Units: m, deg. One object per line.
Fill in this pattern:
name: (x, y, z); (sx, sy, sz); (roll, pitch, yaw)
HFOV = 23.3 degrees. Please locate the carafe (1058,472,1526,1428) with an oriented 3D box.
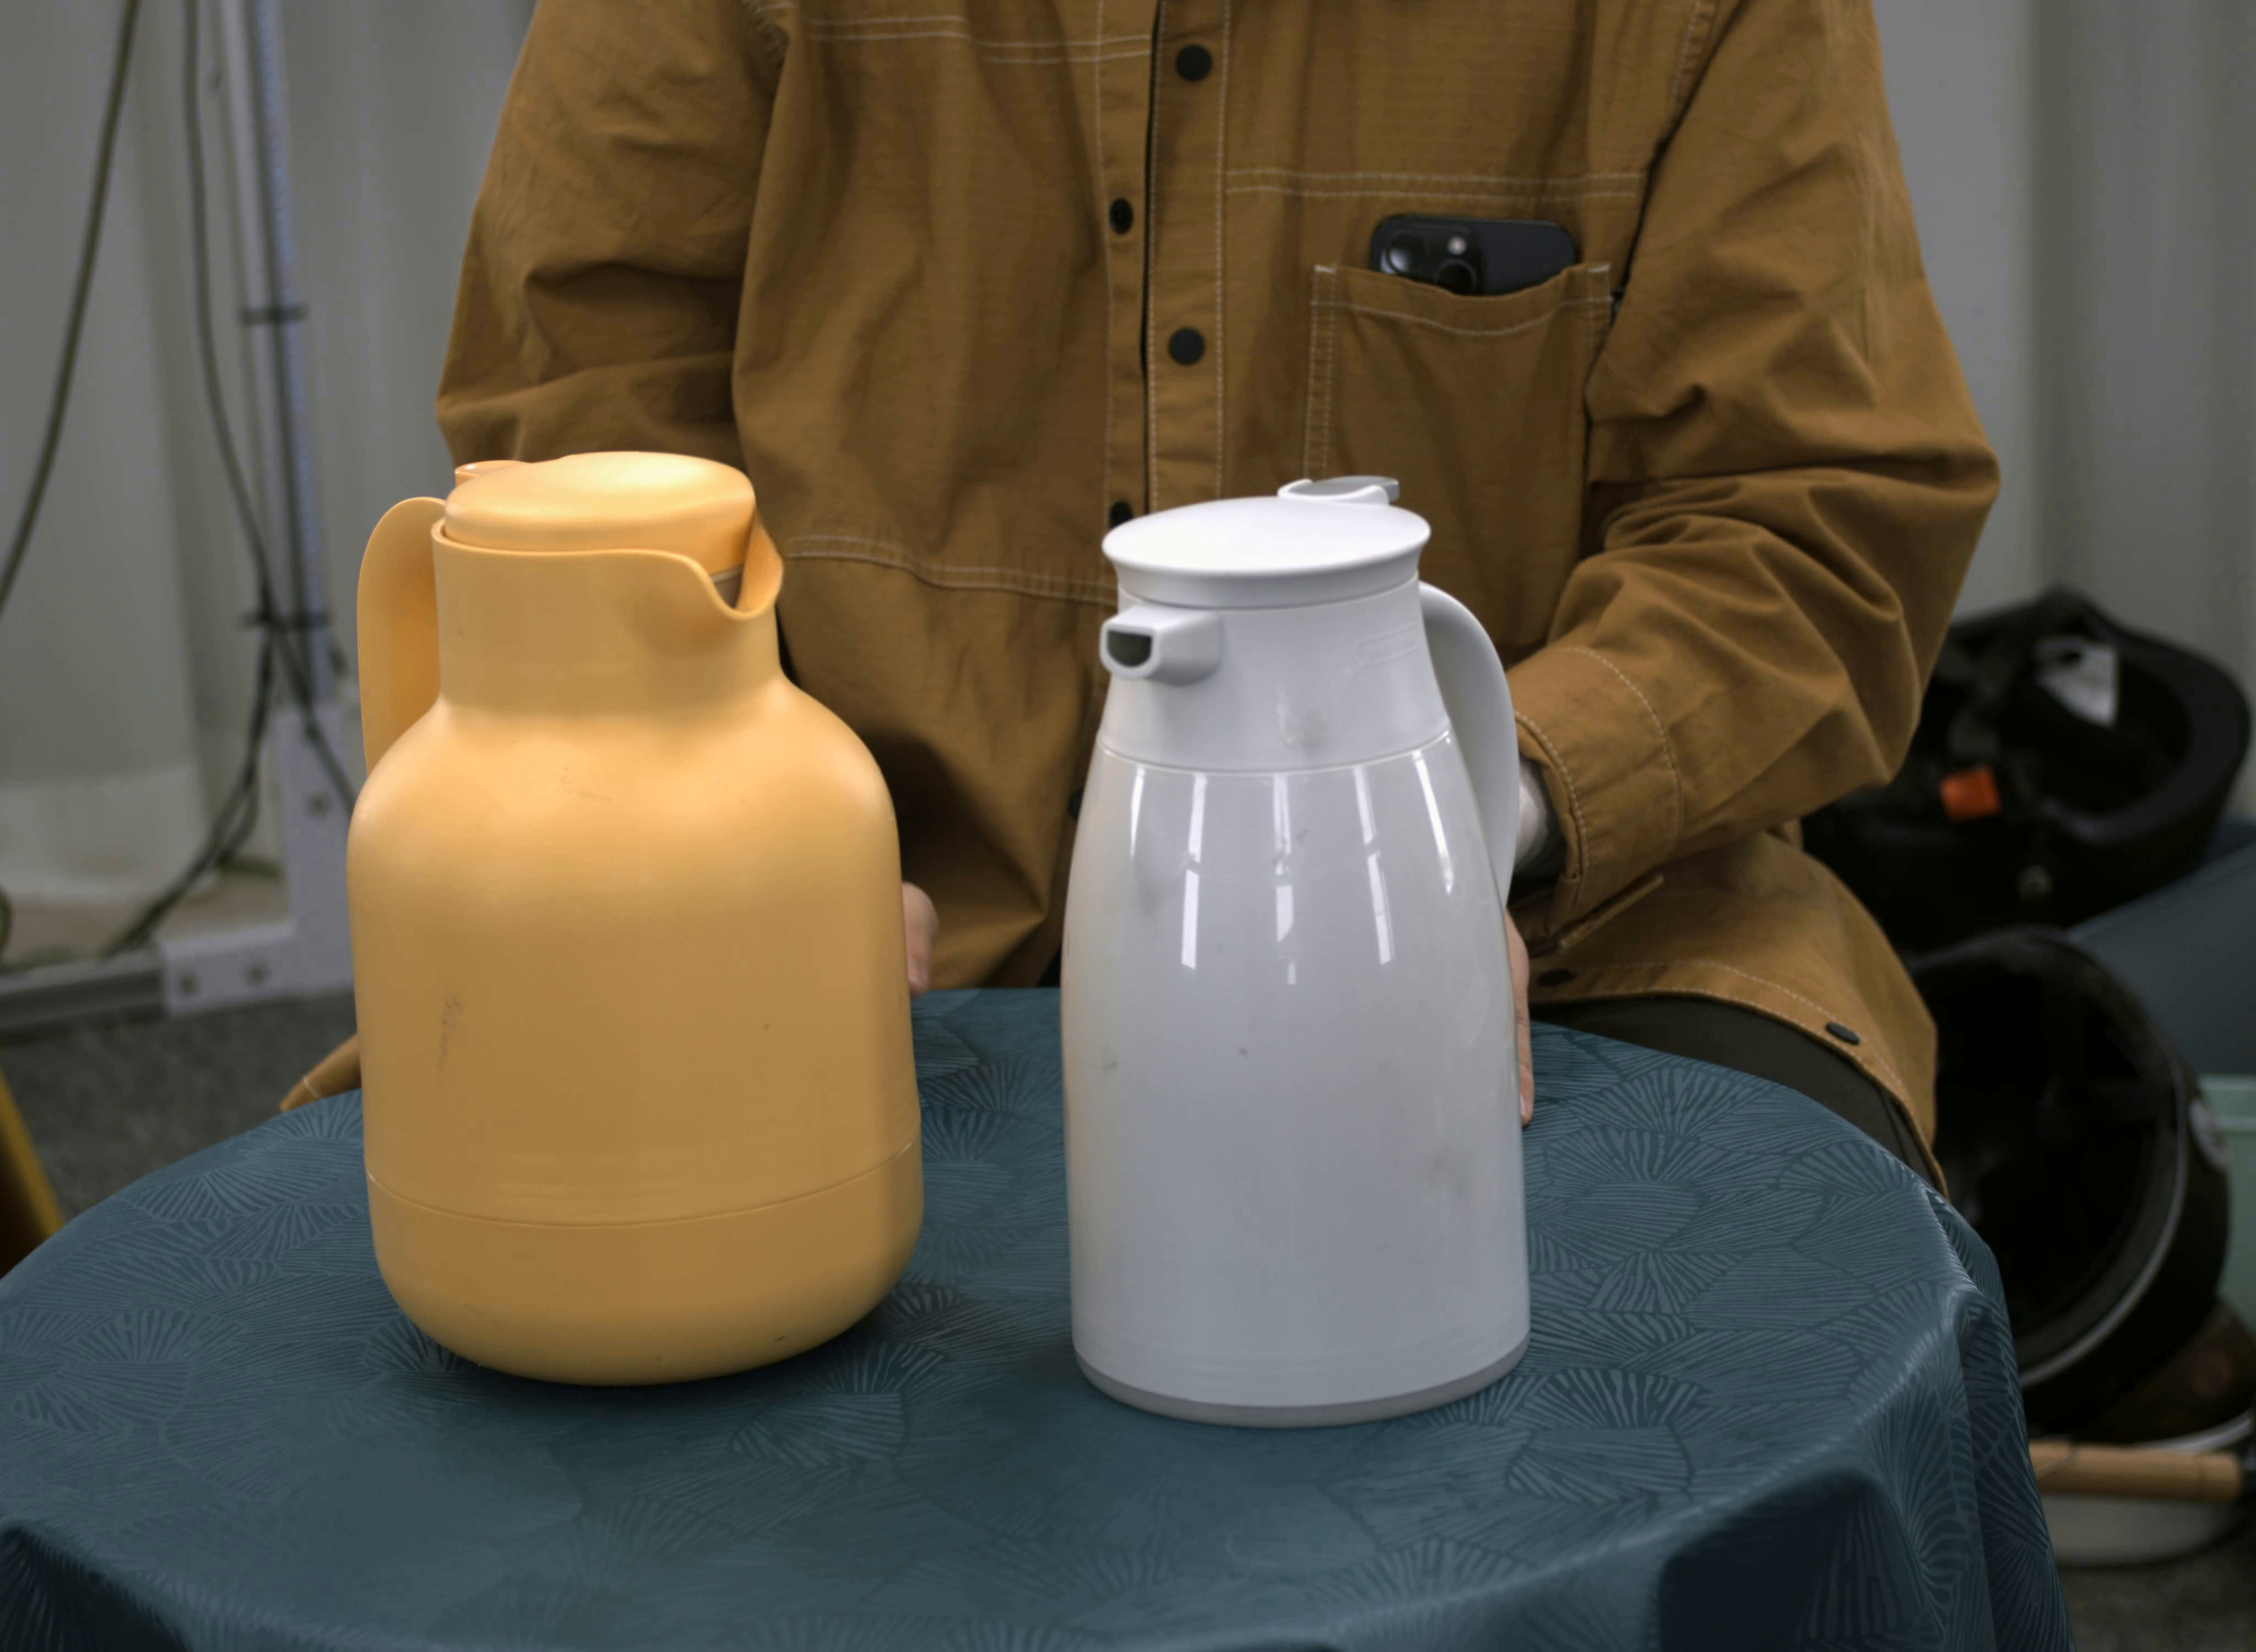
carafe: (0.055, 0.026, 1.558); (0.133, 0.248, 0.167); (8, 17, 38)

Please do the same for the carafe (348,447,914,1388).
carafe: (-0.156, 0.018, 1.606); (0.163, 0.259, 0.204); (-10, 17, -35)
